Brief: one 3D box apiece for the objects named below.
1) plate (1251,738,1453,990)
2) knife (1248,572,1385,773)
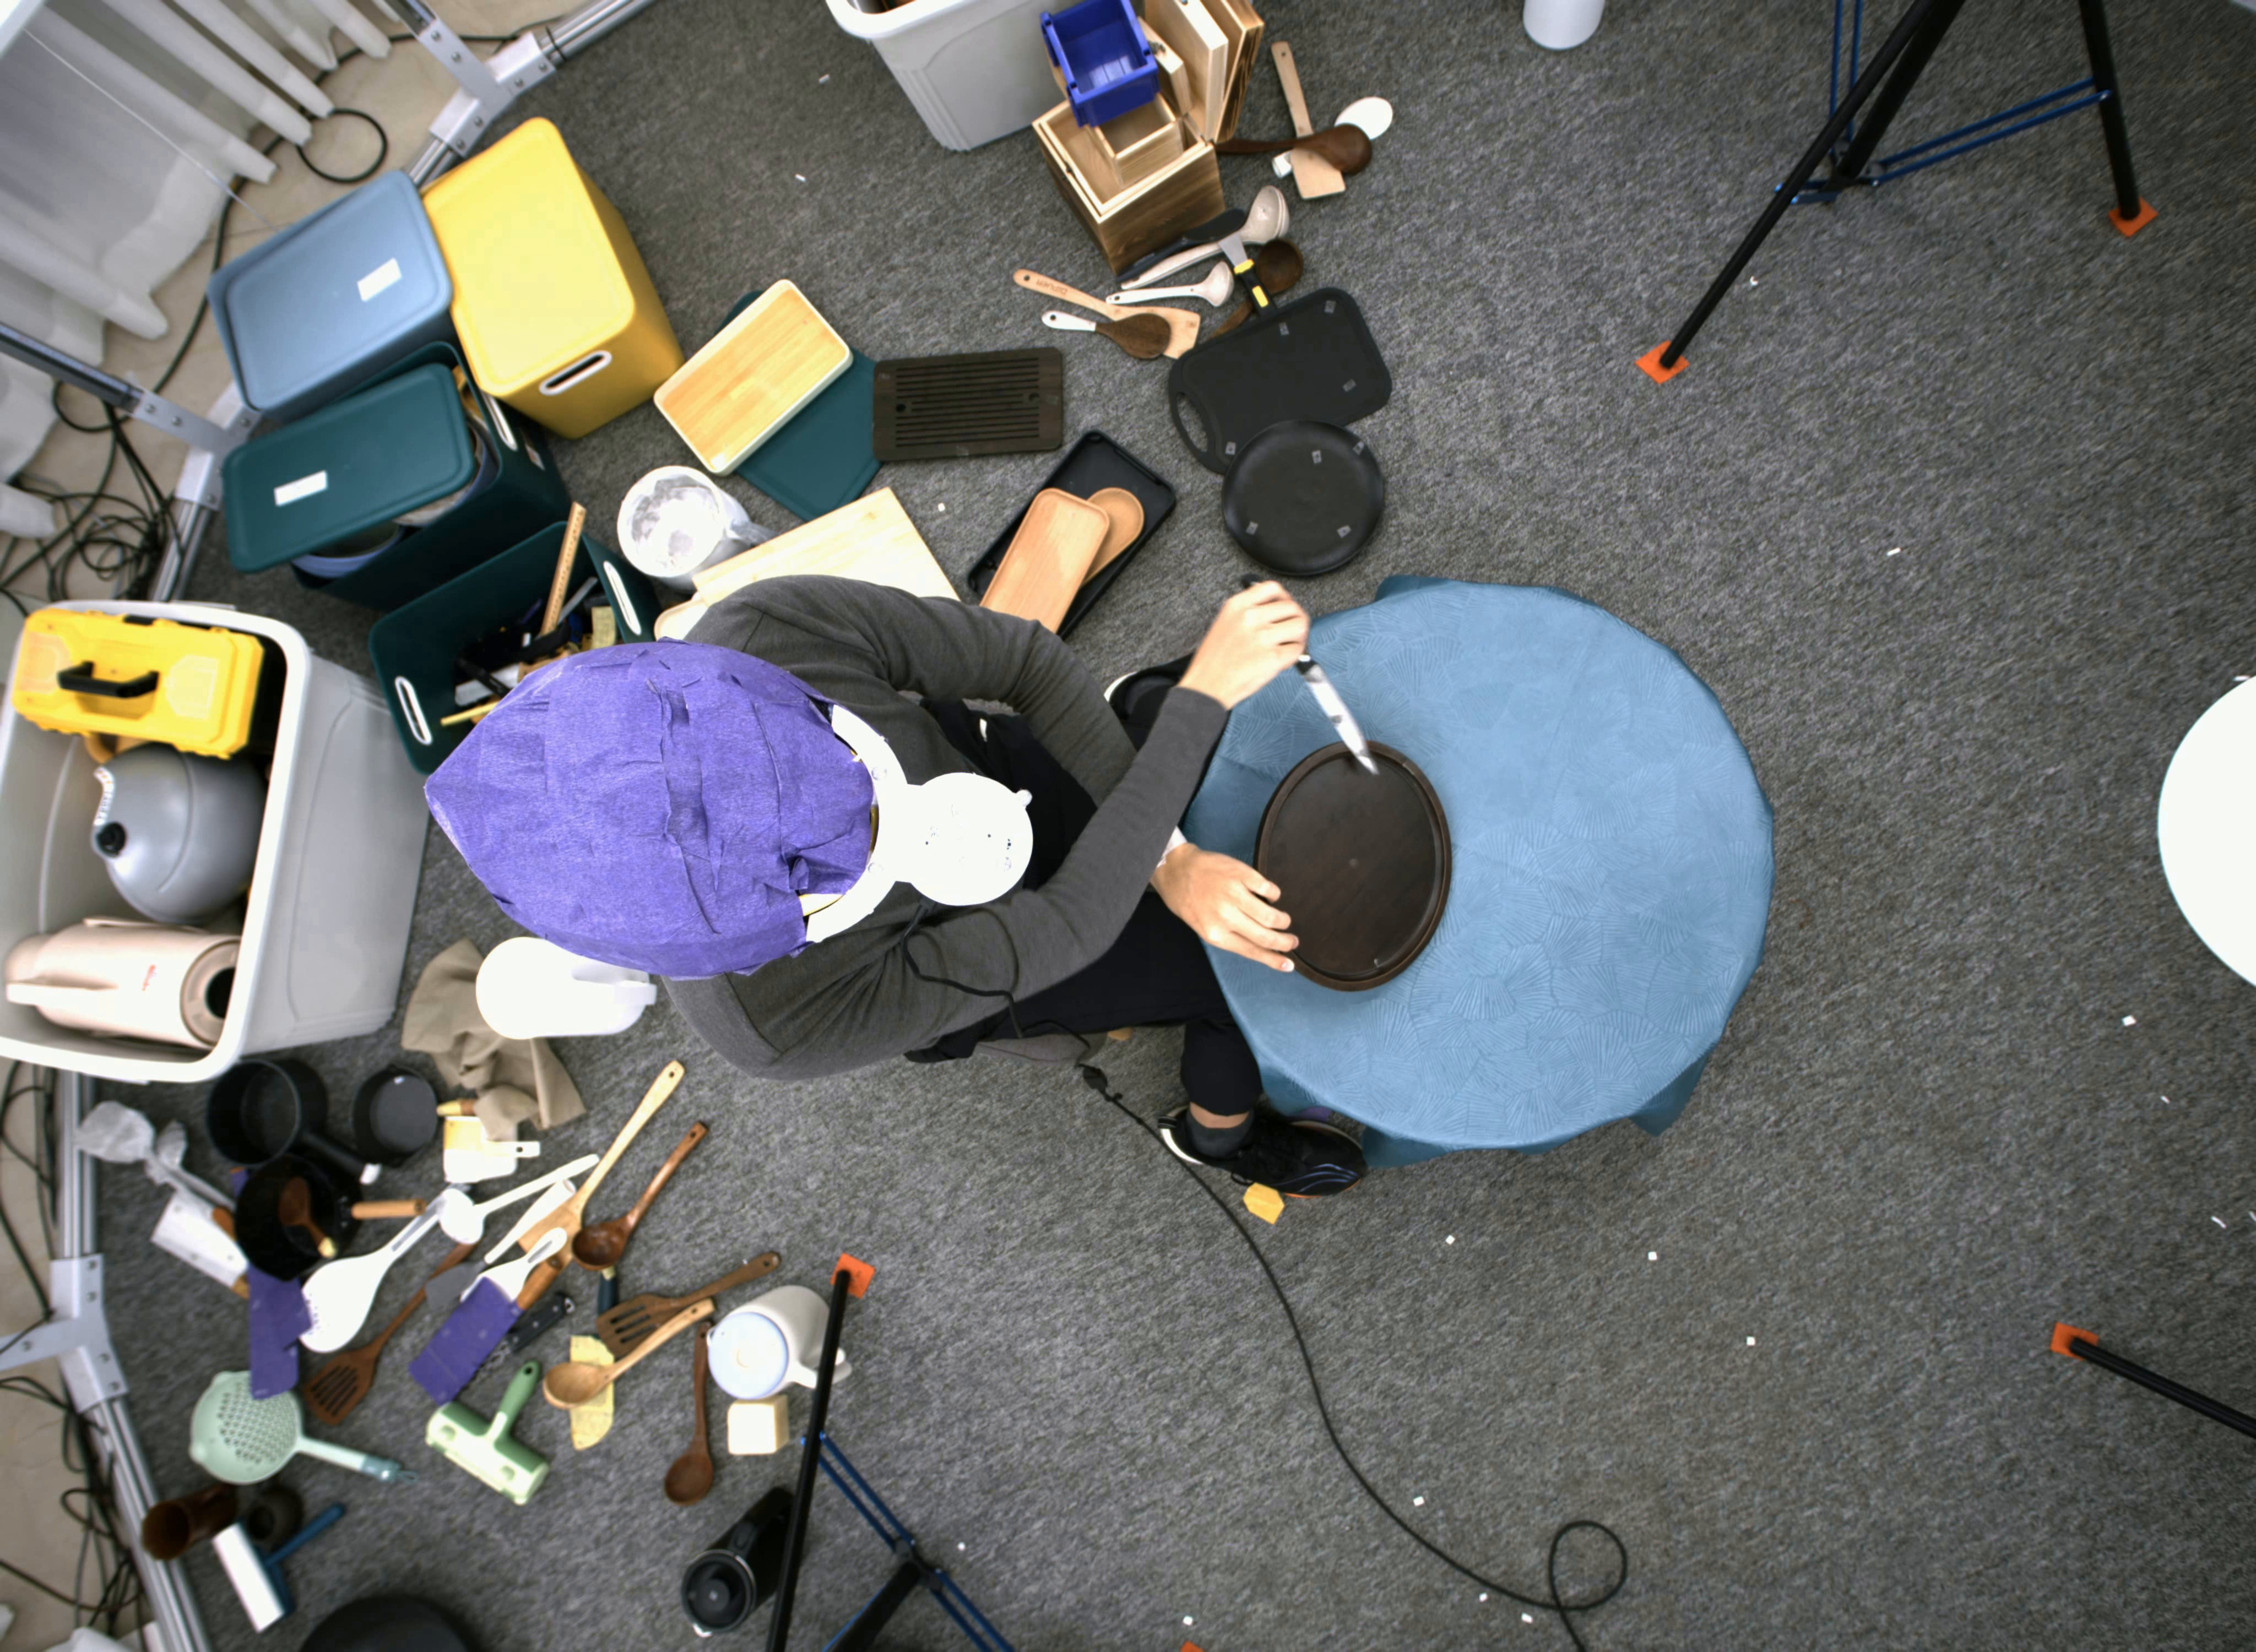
[{"bbox_3d":[0.226,0.037,1.385,0.253,0.029,0.255,-1,94,-30],"label":"plate"},{"bbox_3d":[0.186,-0.146,1.344,0.024,0.016,0.240,-44,106,-27],"label":"knife"}]
